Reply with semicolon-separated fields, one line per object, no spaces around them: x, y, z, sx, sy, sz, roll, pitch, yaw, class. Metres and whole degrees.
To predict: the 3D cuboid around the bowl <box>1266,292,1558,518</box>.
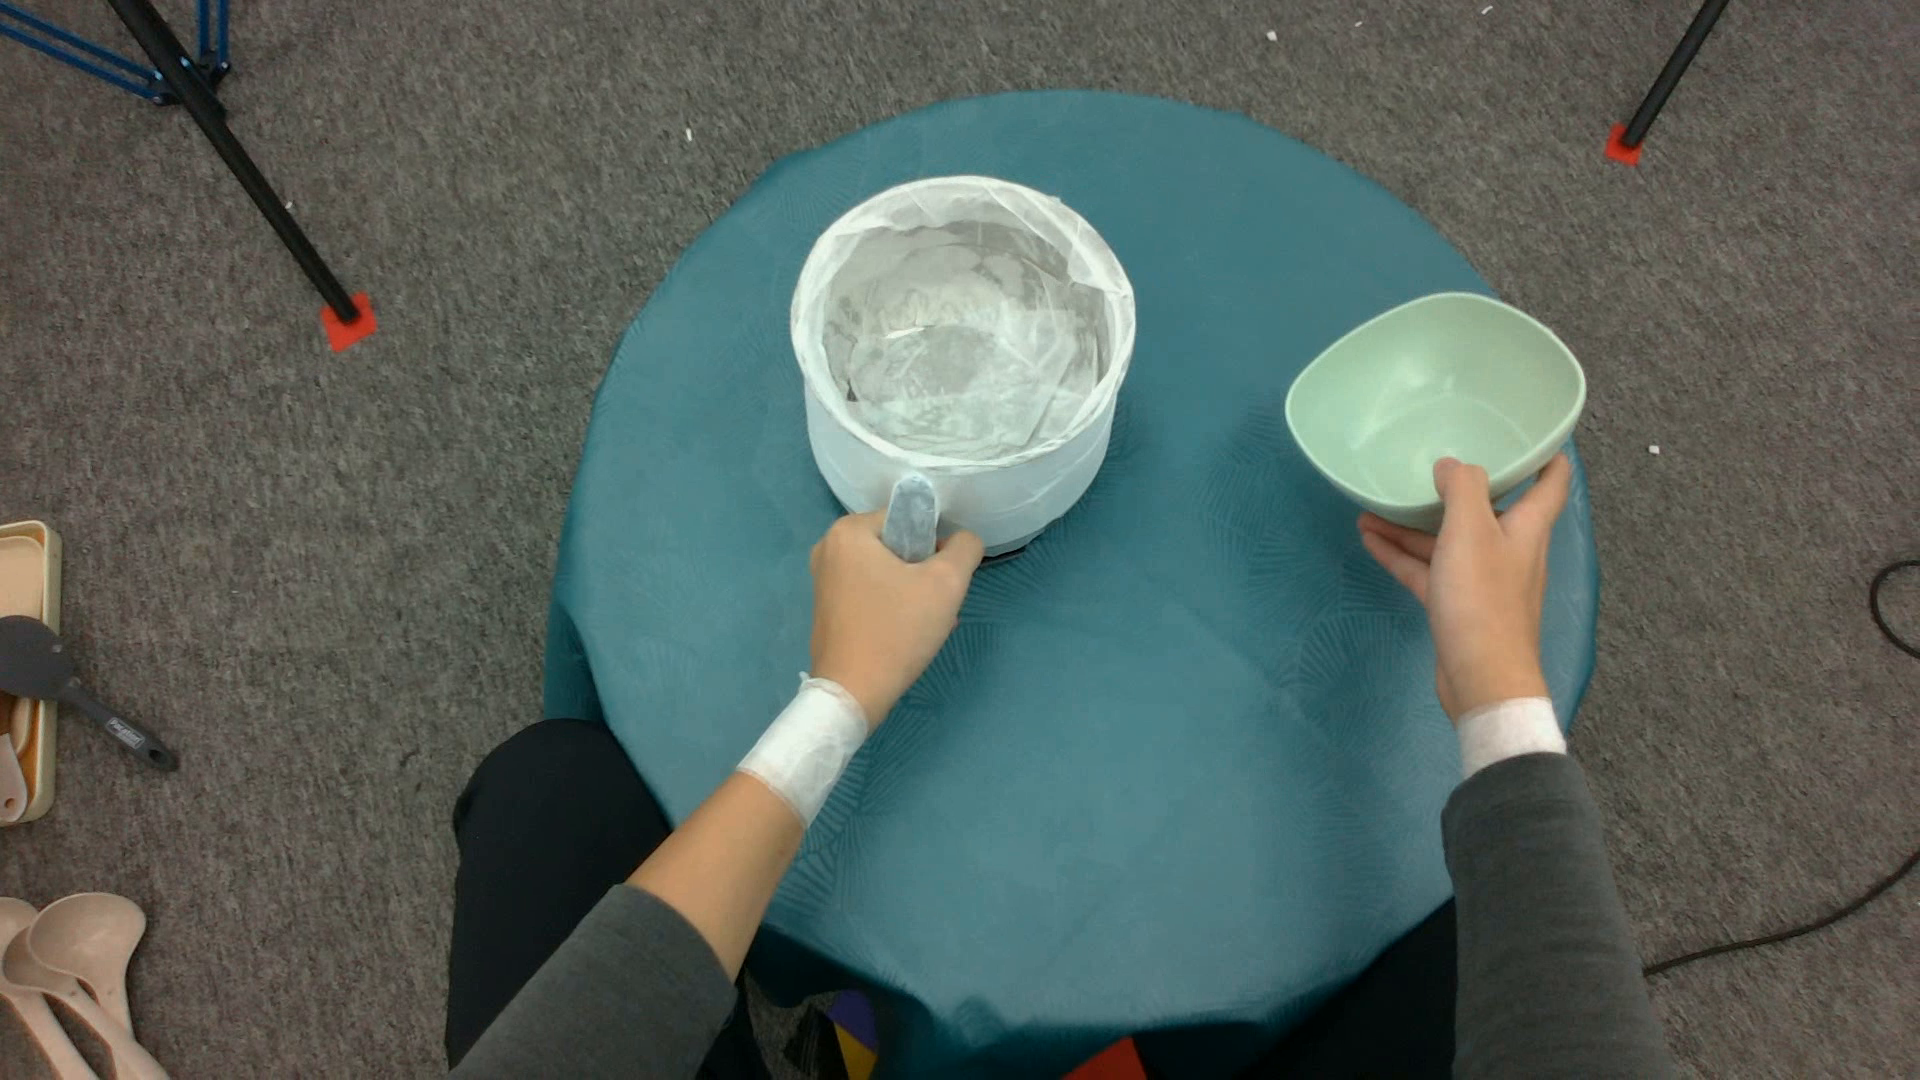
0.248;-0.067;0.753;0.151;0.058;0.152;-17;41;15;bowl

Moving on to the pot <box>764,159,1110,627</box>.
-0.019;-0.074;0.750;0.178;0.136;0.234;12;67;3;pot
